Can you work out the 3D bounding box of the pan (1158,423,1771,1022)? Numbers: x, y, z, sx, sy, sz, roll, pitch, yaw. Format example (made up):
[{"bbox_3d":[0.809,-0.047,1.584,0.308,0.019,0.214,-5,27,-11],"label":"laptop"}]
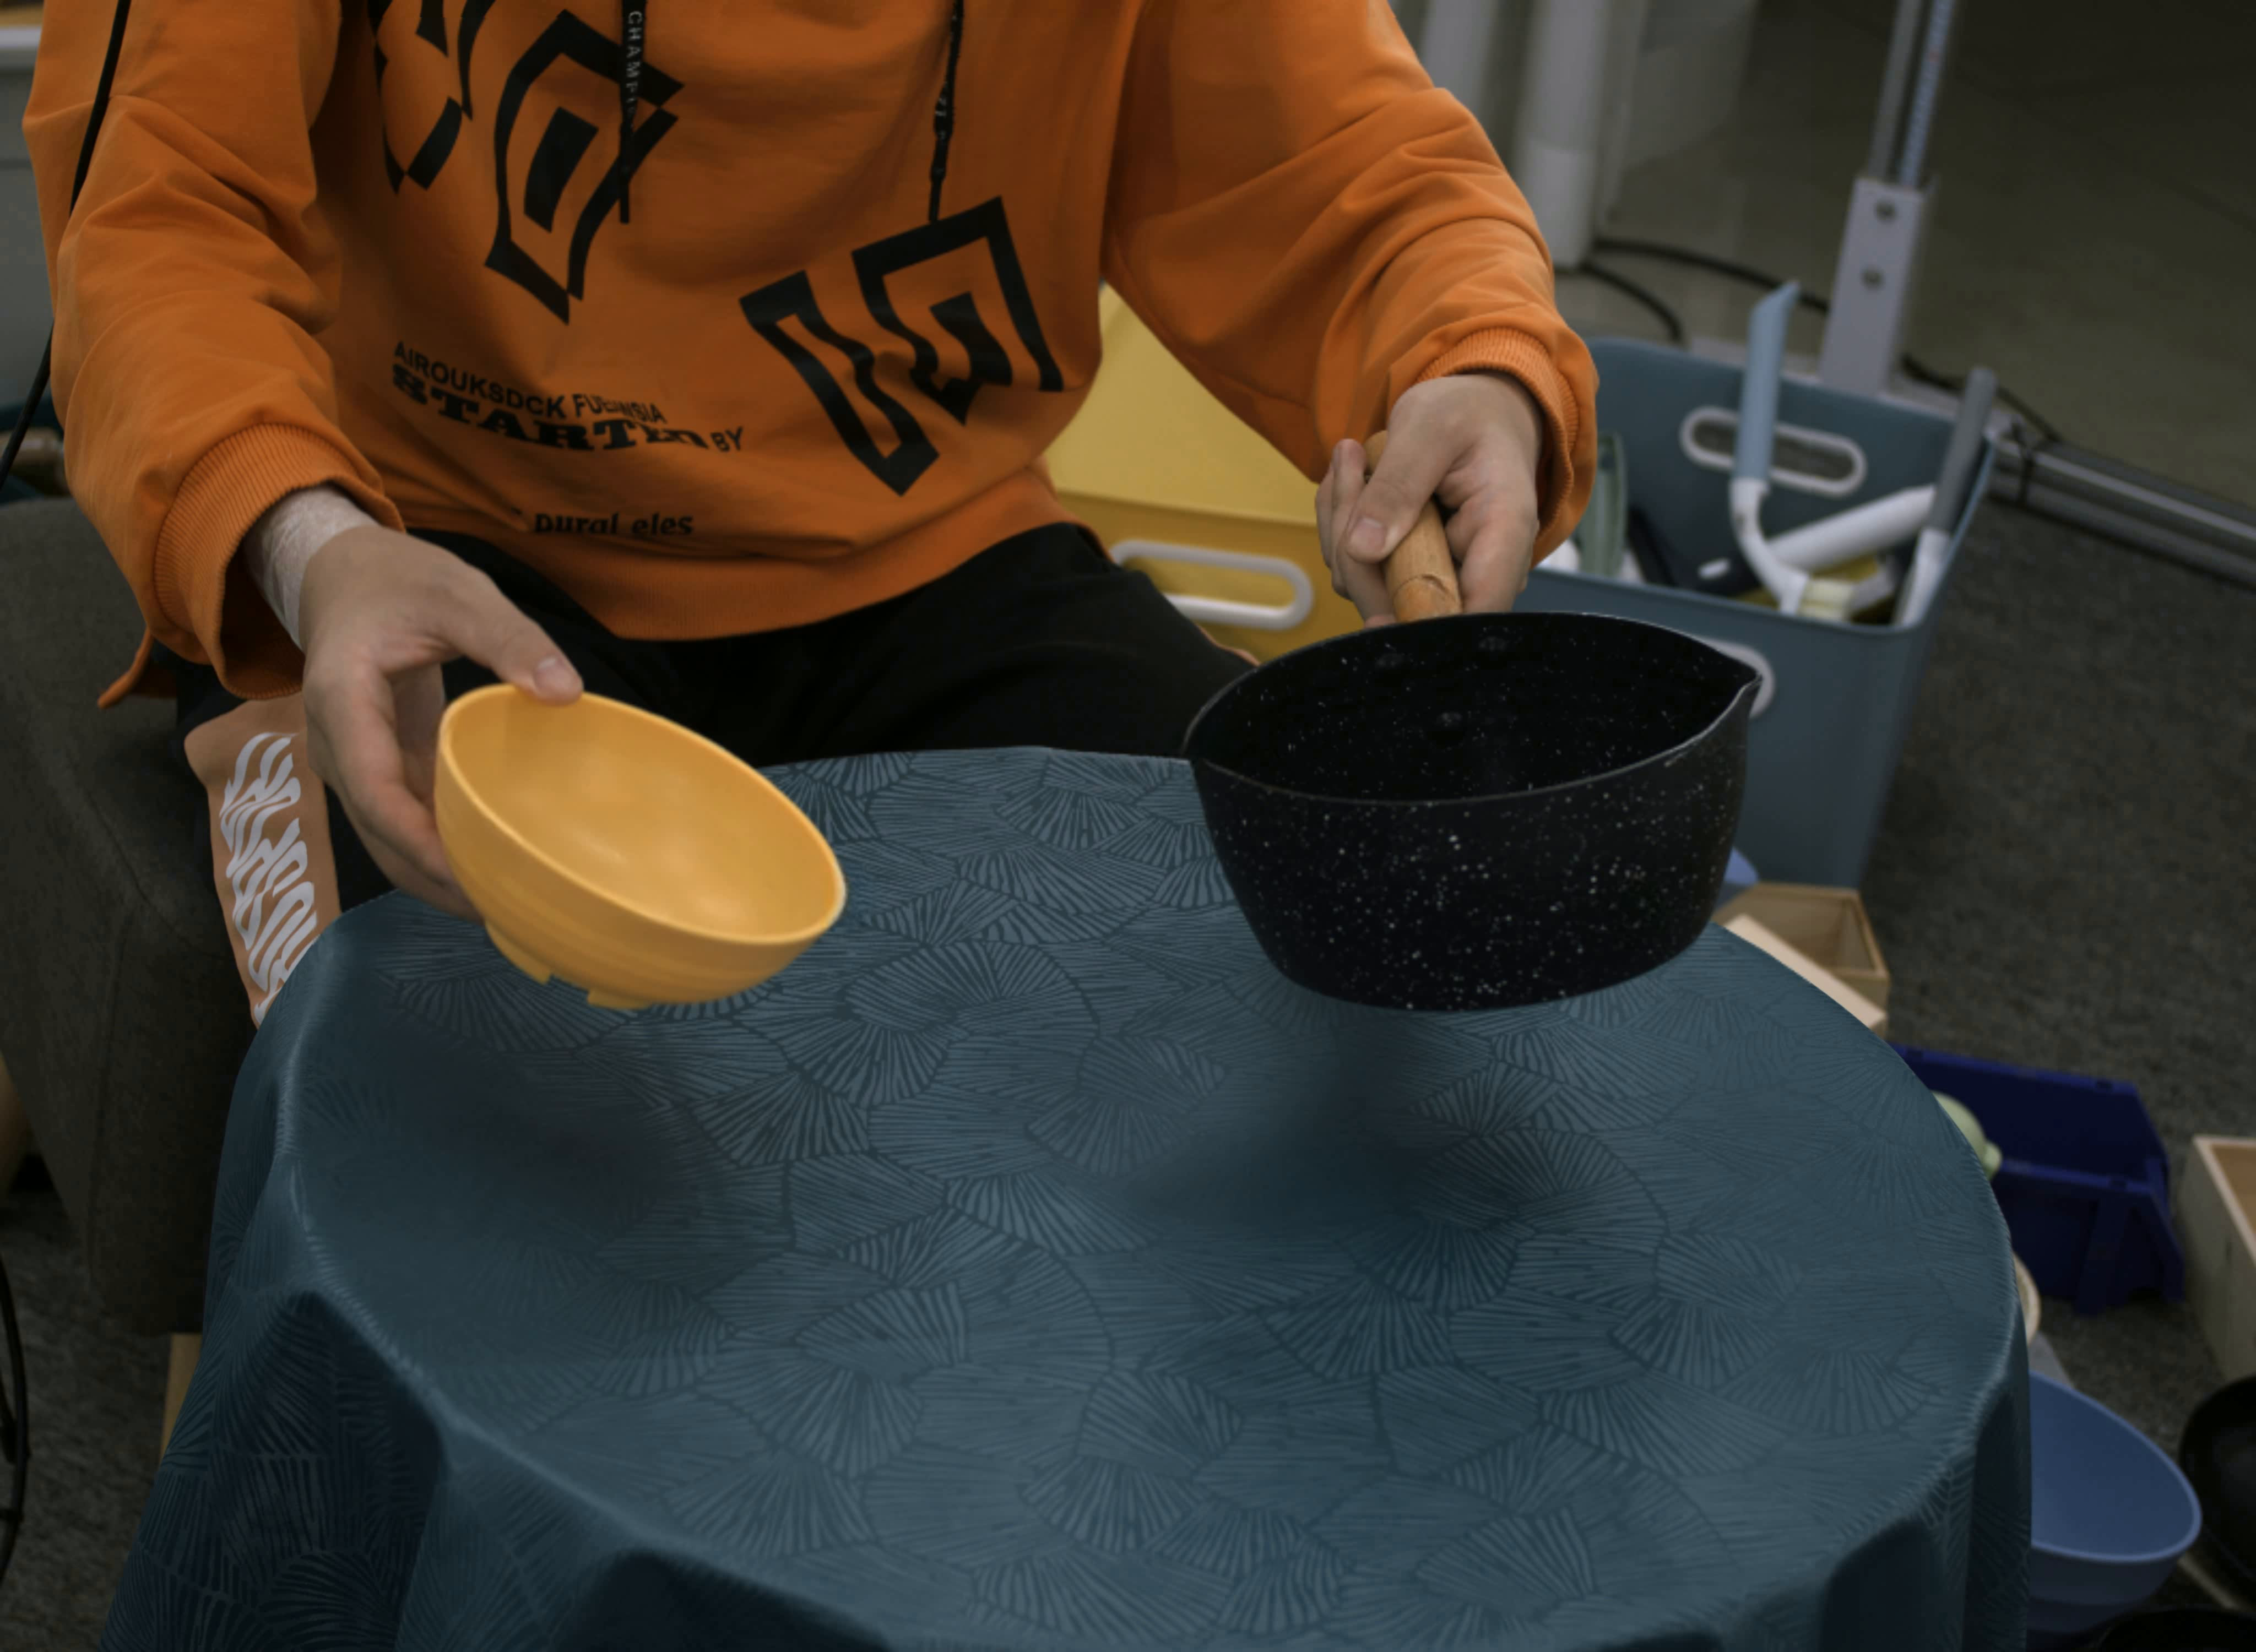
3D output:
[{"bbox_3d":[0.112,-0.041,1.870,0.207,0.108,0.345,-9,22,-1],"label":"pan"}]

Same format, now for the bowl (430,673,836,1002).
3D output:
[{"bbox_3d":[-0.172,0.015,1.751,0.144,0.060,0.146,25,22,-11],"label":"bowl"}]
